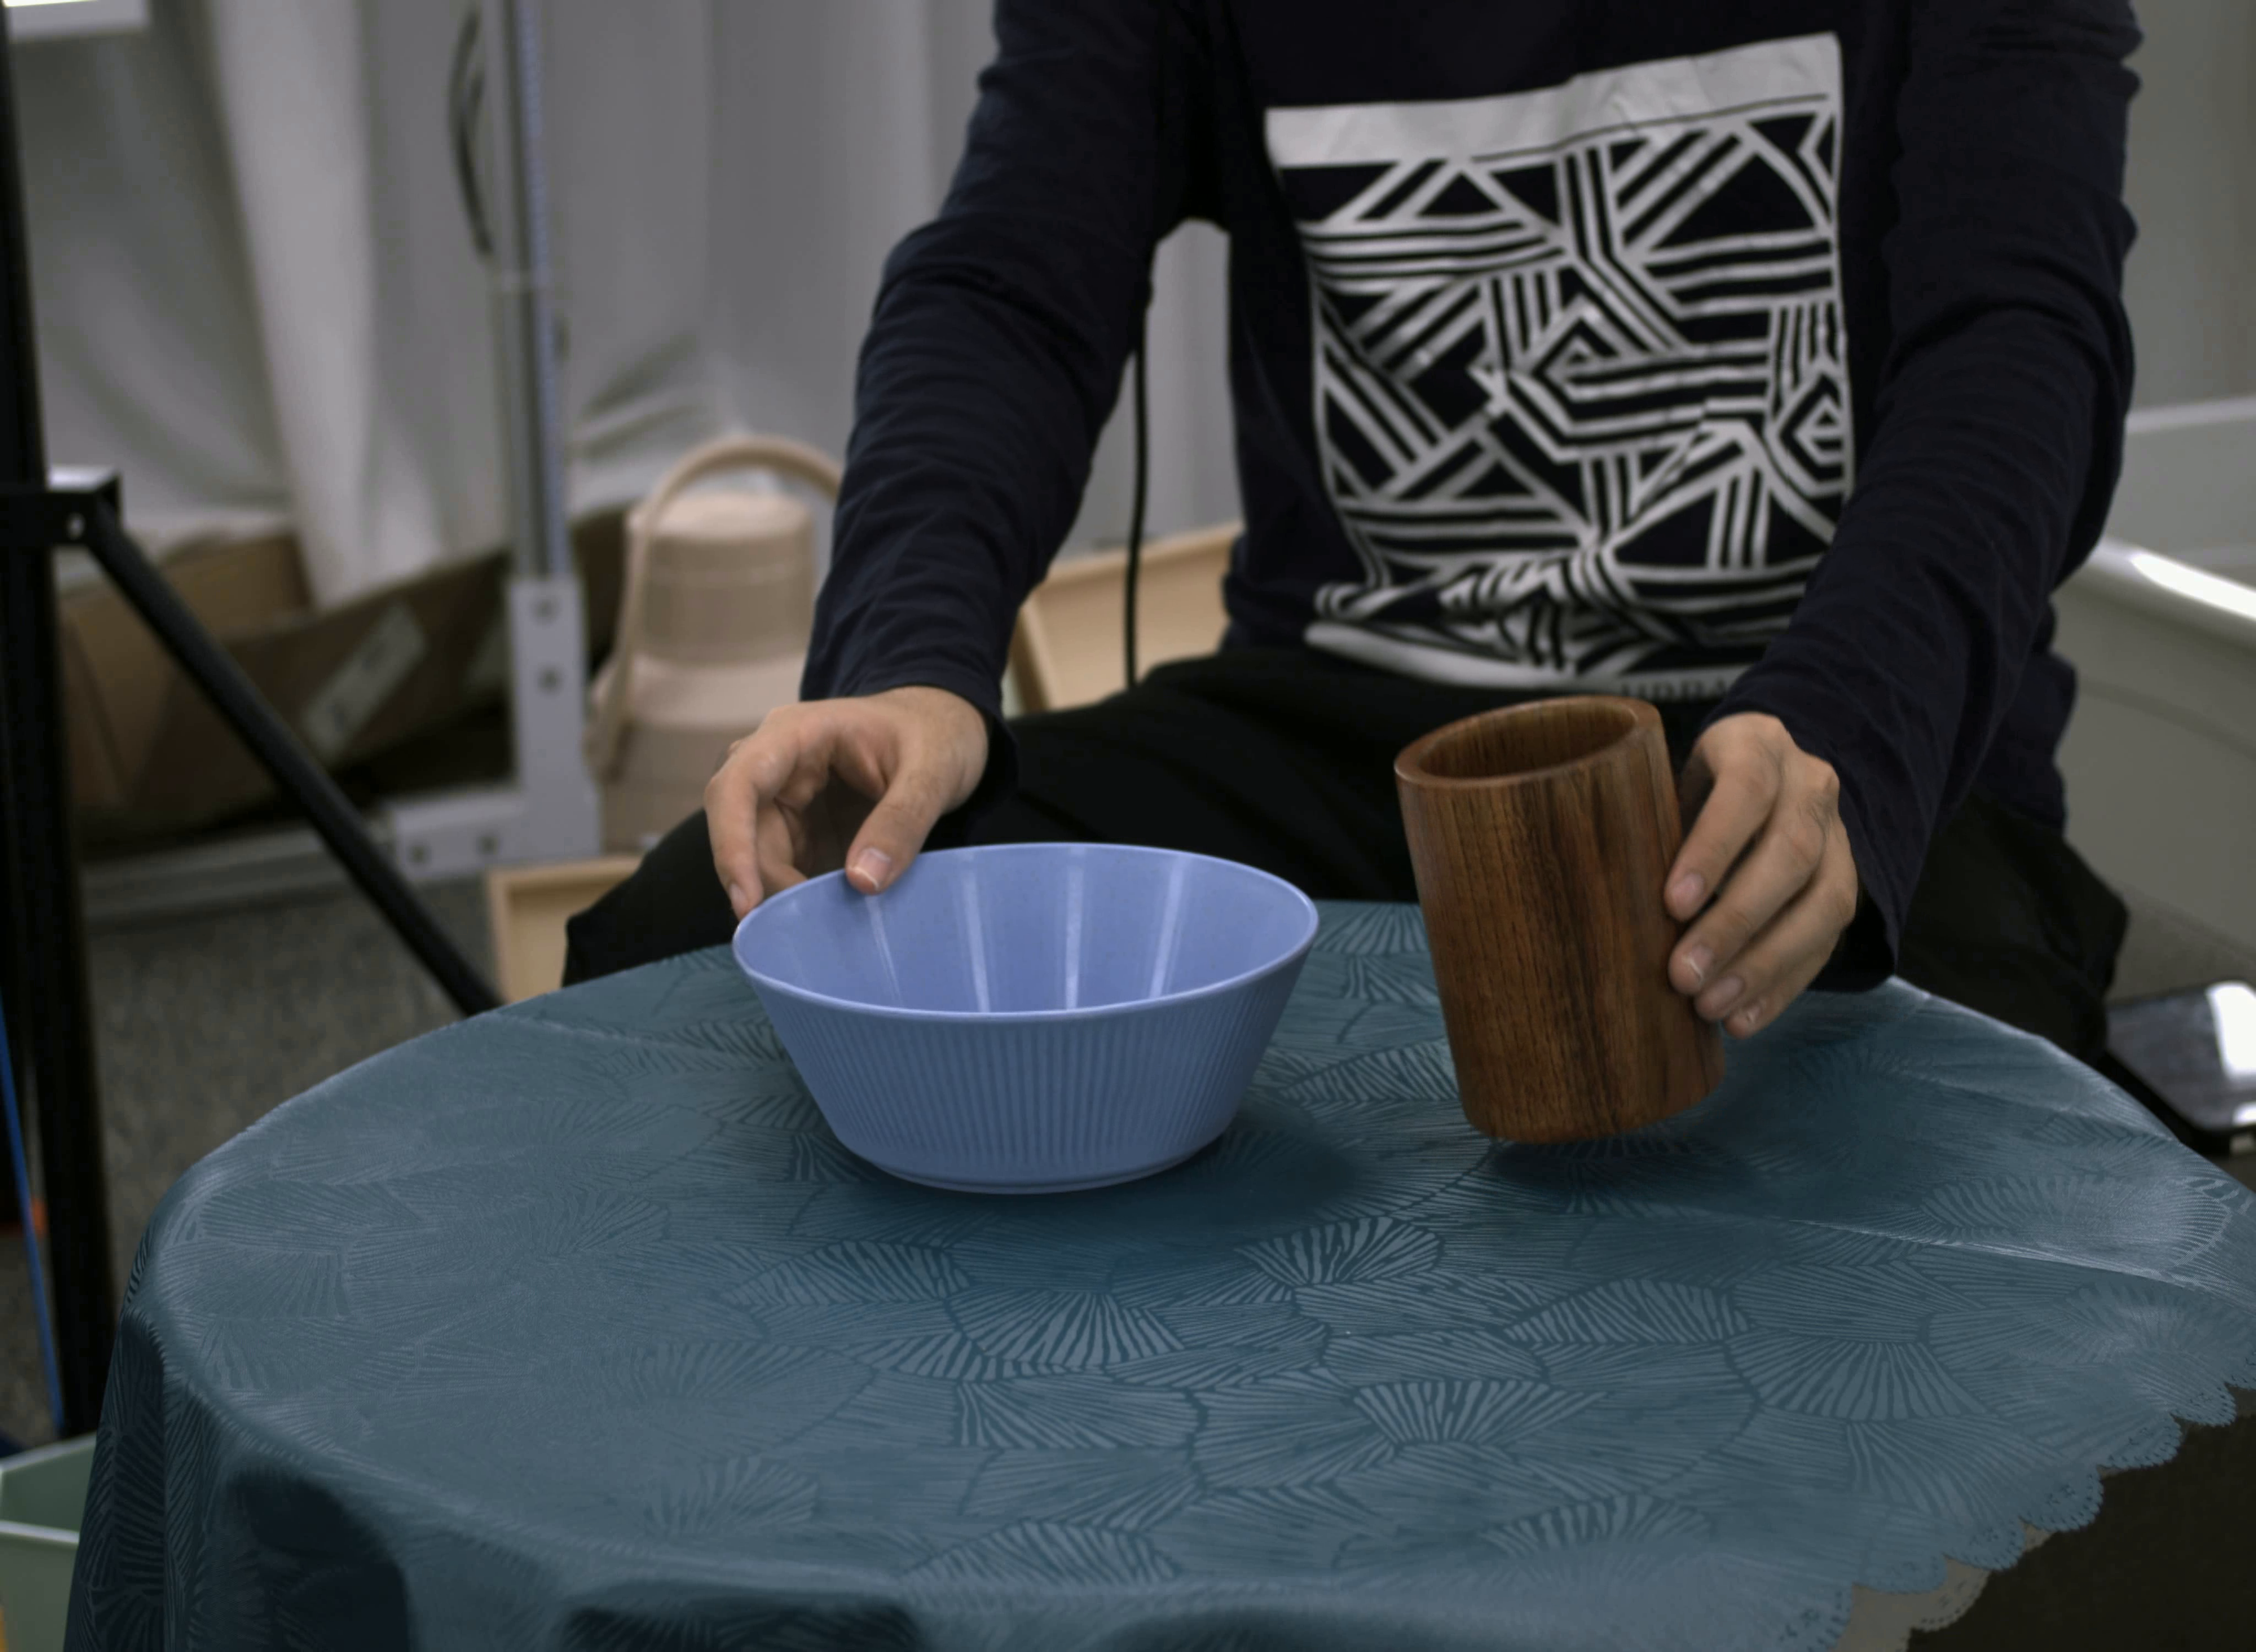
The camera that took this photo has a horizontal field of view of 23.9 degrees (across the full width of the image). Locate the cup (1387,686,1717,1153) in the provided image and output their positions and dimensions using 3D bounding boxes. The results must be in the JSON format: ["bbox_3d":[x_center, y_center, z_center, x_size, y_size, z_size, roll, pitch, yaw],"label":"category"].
[{"bbox_3d":[0.124,0.027,1.550,0.087,0.118,0.088,-10,15,1],"label":"cup"}]

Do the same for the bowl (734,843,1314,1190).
[{"bbox_3d":[-0.031,0.060,1.606,0.175,0.070,0.177,-2,15,-1],"label":"bowl"}]
